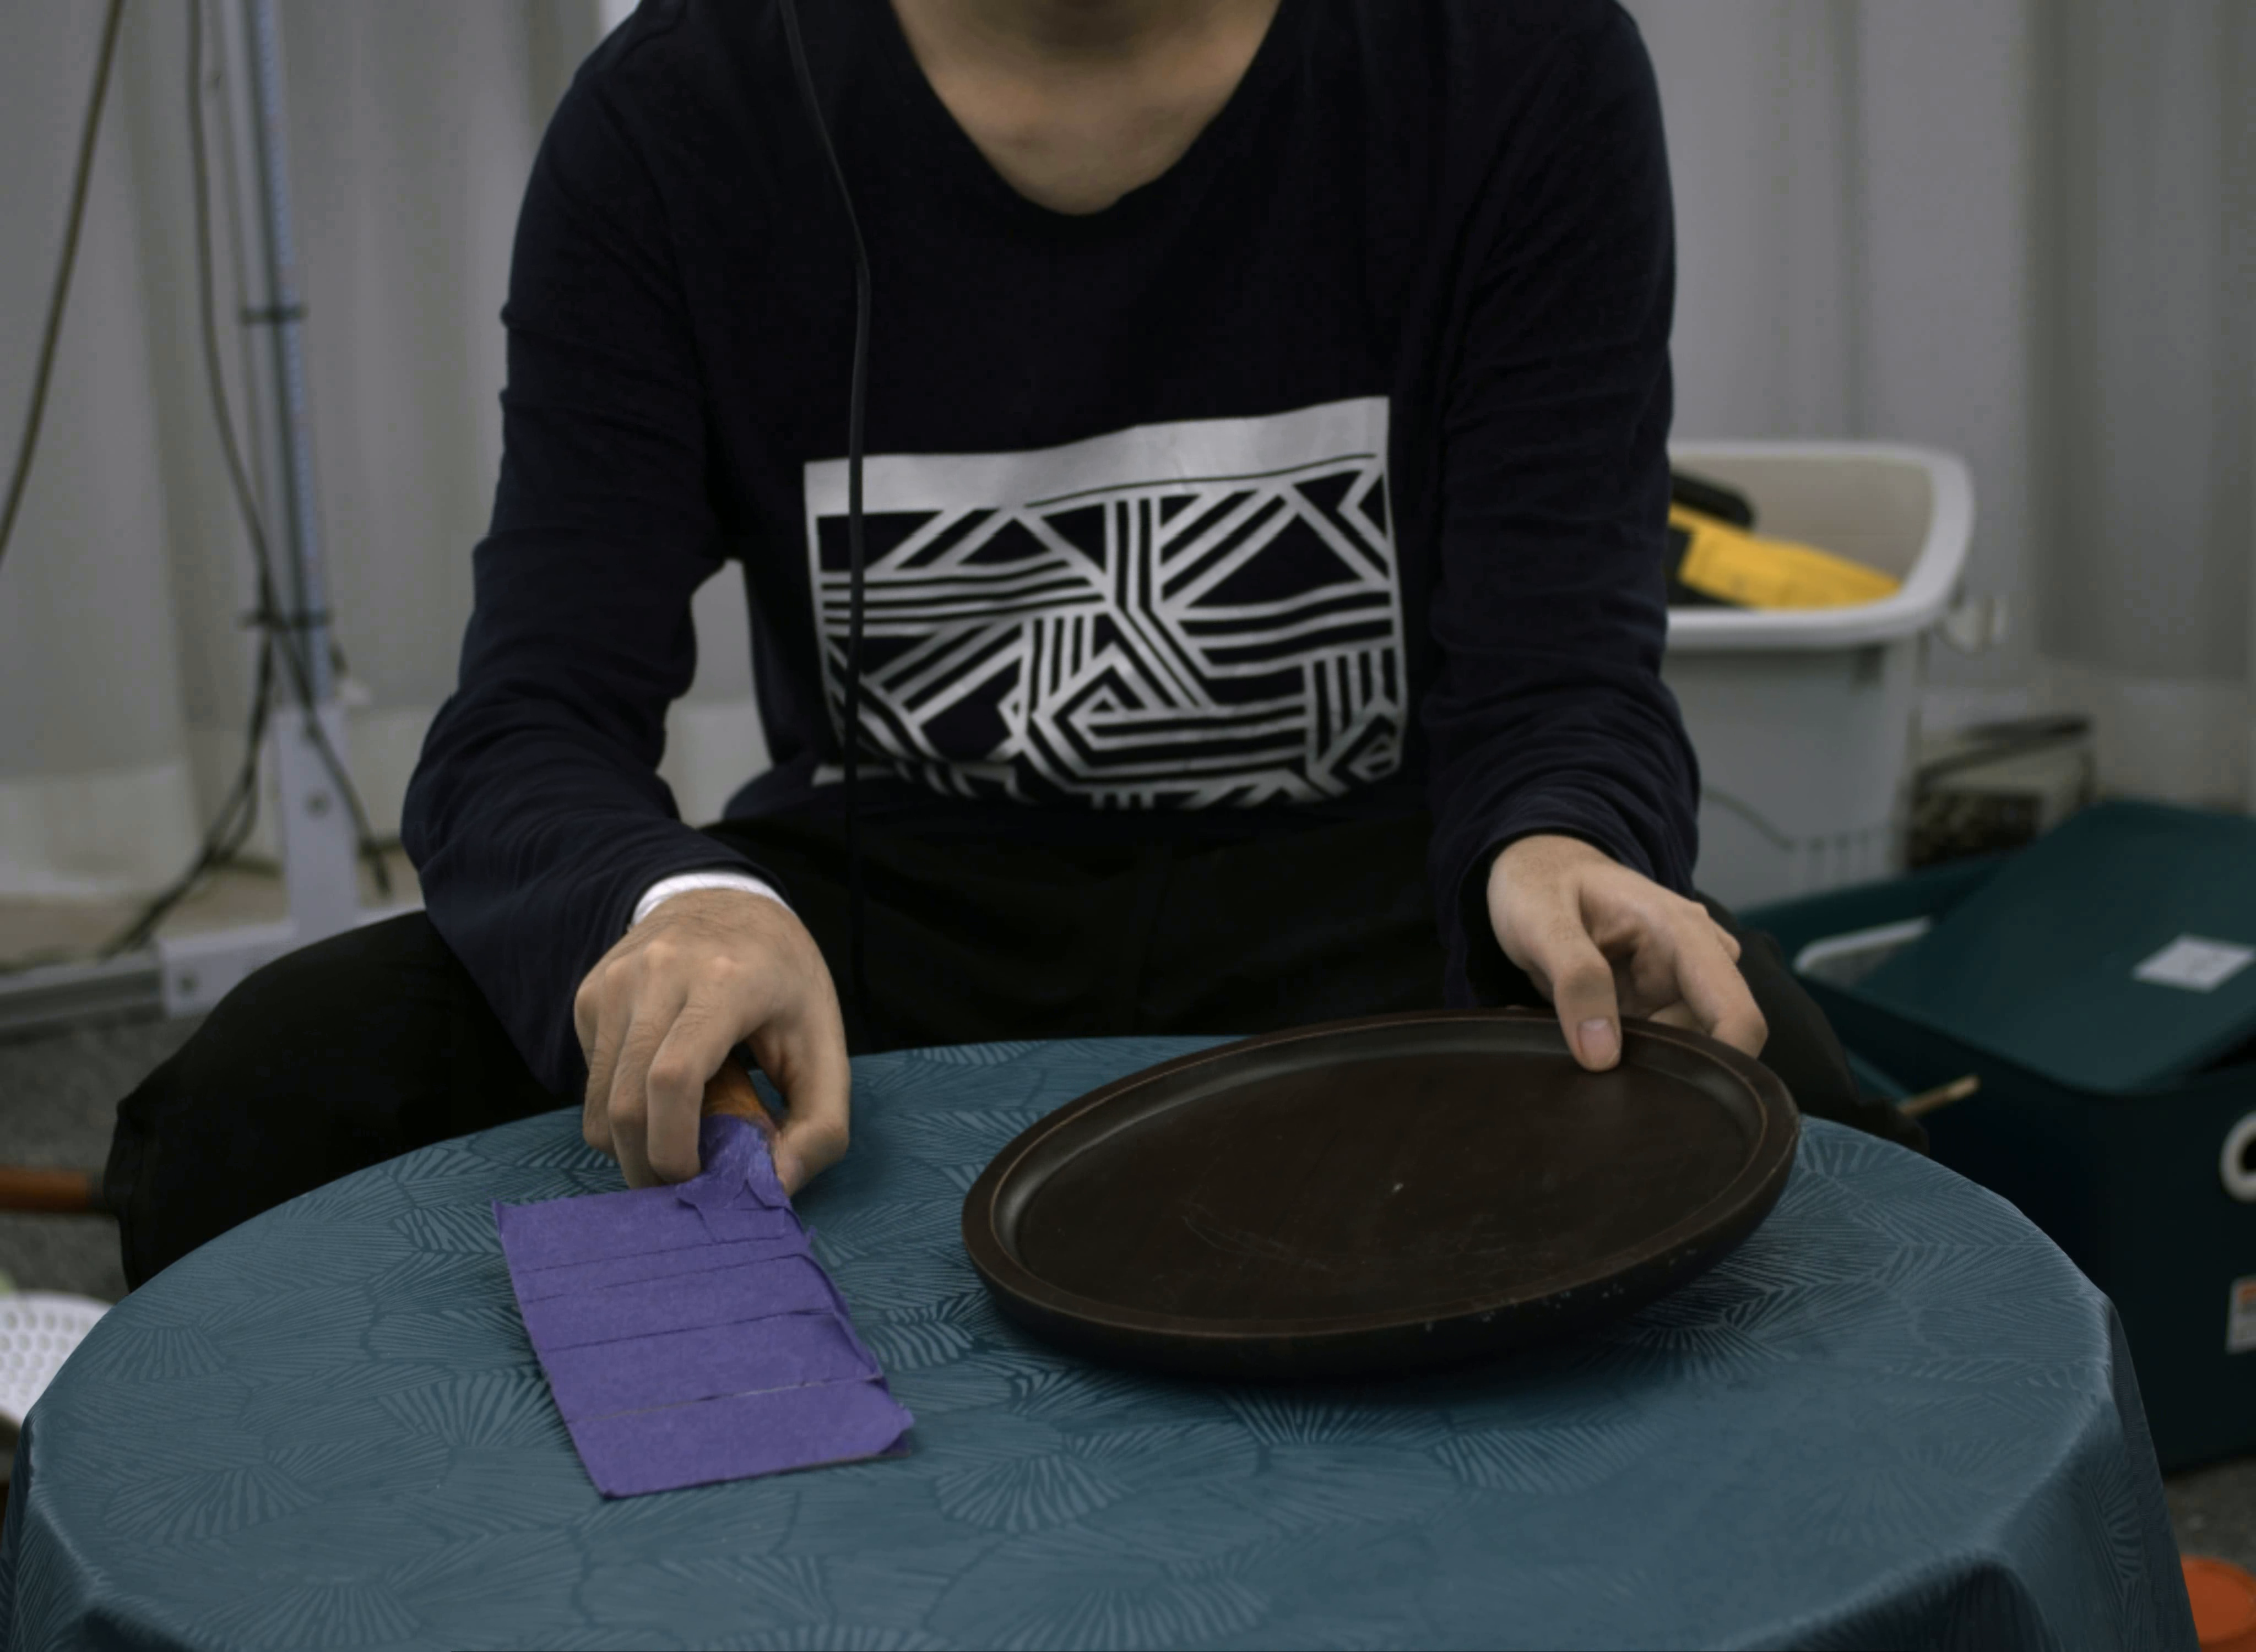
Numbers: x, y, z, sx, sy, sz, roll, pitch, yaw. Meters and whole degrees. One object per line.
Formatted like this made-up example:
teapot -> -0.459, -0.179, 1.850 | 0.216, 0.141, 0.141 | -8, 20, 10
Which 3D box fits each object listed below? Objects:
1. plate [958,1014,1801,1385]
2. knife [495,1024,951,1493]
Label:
plate -> 0.075, 0.109, 1.633 | 0.254, 0.029, 0.257 | -8, 19, 2
knife -> -0.138, 0.125, 1.634 | 0.103, 0.032, 0.318 | -6, 17, -14
